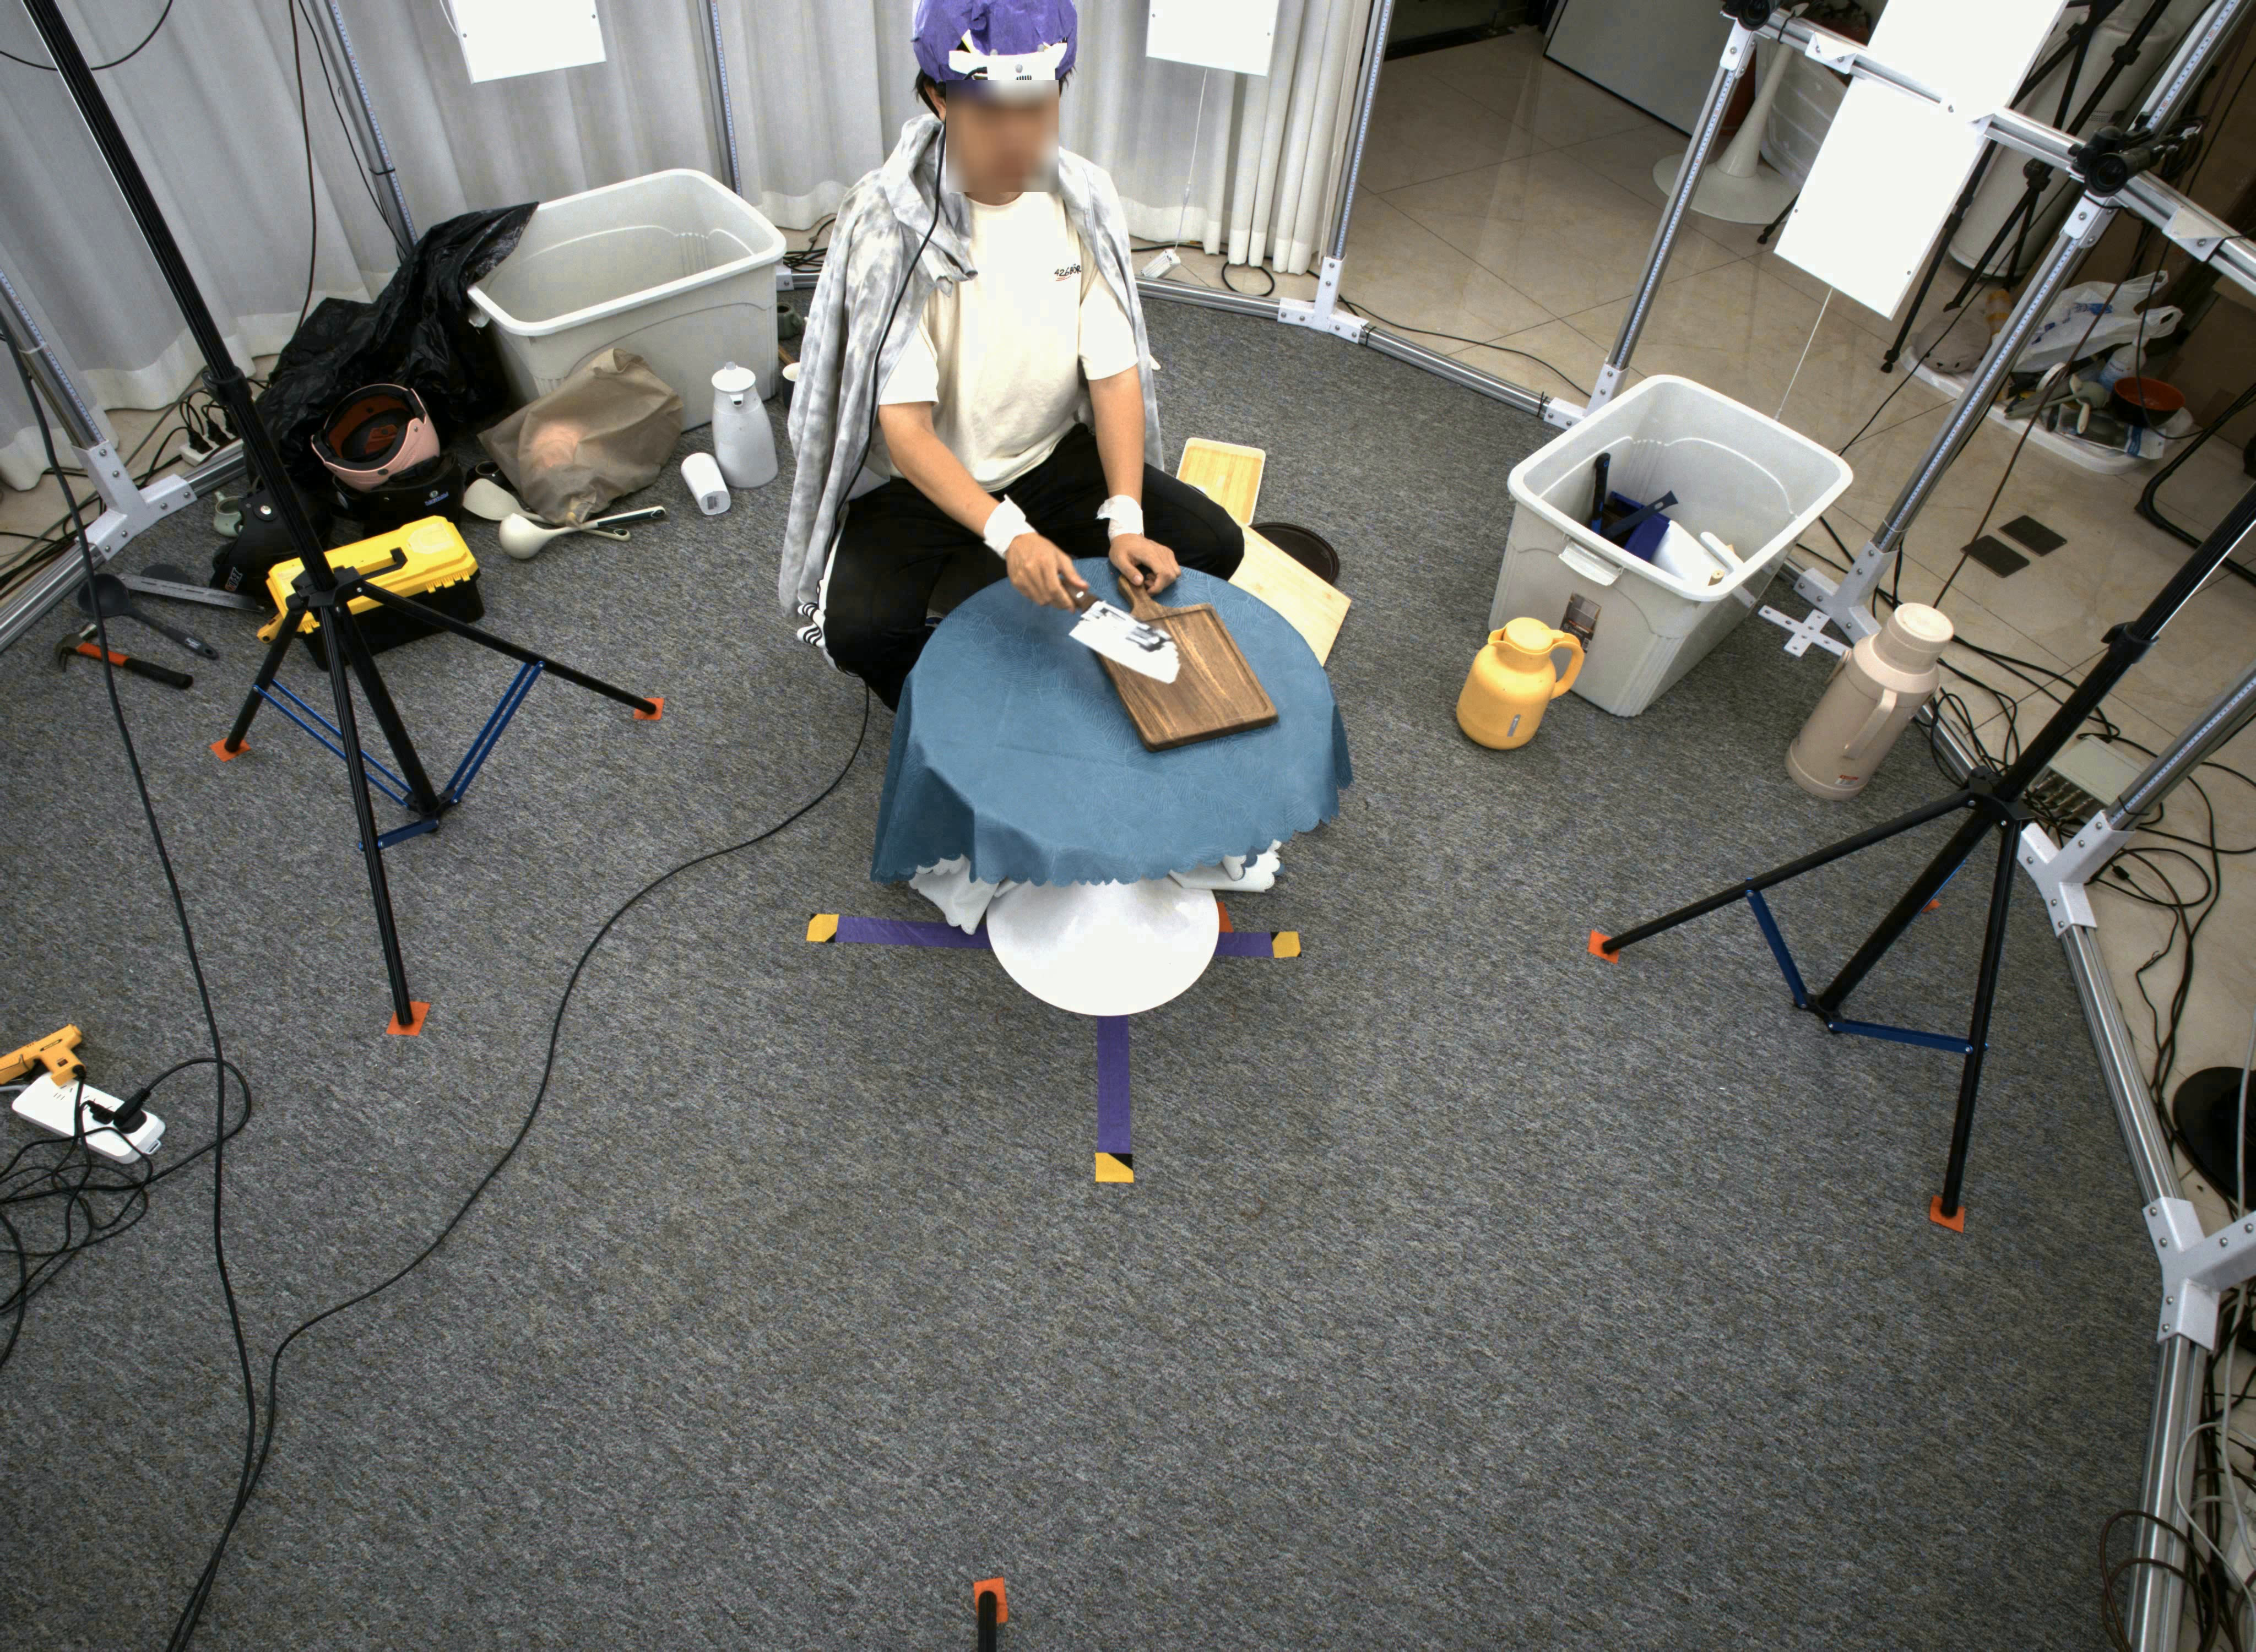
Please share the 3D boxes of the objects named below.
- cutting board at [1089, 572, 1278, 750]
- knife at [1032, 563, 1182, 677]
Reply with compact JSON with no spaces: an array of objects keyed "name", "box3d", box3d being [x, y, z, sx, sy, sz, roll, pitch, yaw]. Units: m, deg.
[{"name":"cutting board","box3d":[0.060,-0.257,1.876,0.201,0.022,0.360,-14,50,-15]},{"name":"knife","box3d":[-0.036,-0.289,1.800,0.303,0.023,0.068,32,79,27]}]
